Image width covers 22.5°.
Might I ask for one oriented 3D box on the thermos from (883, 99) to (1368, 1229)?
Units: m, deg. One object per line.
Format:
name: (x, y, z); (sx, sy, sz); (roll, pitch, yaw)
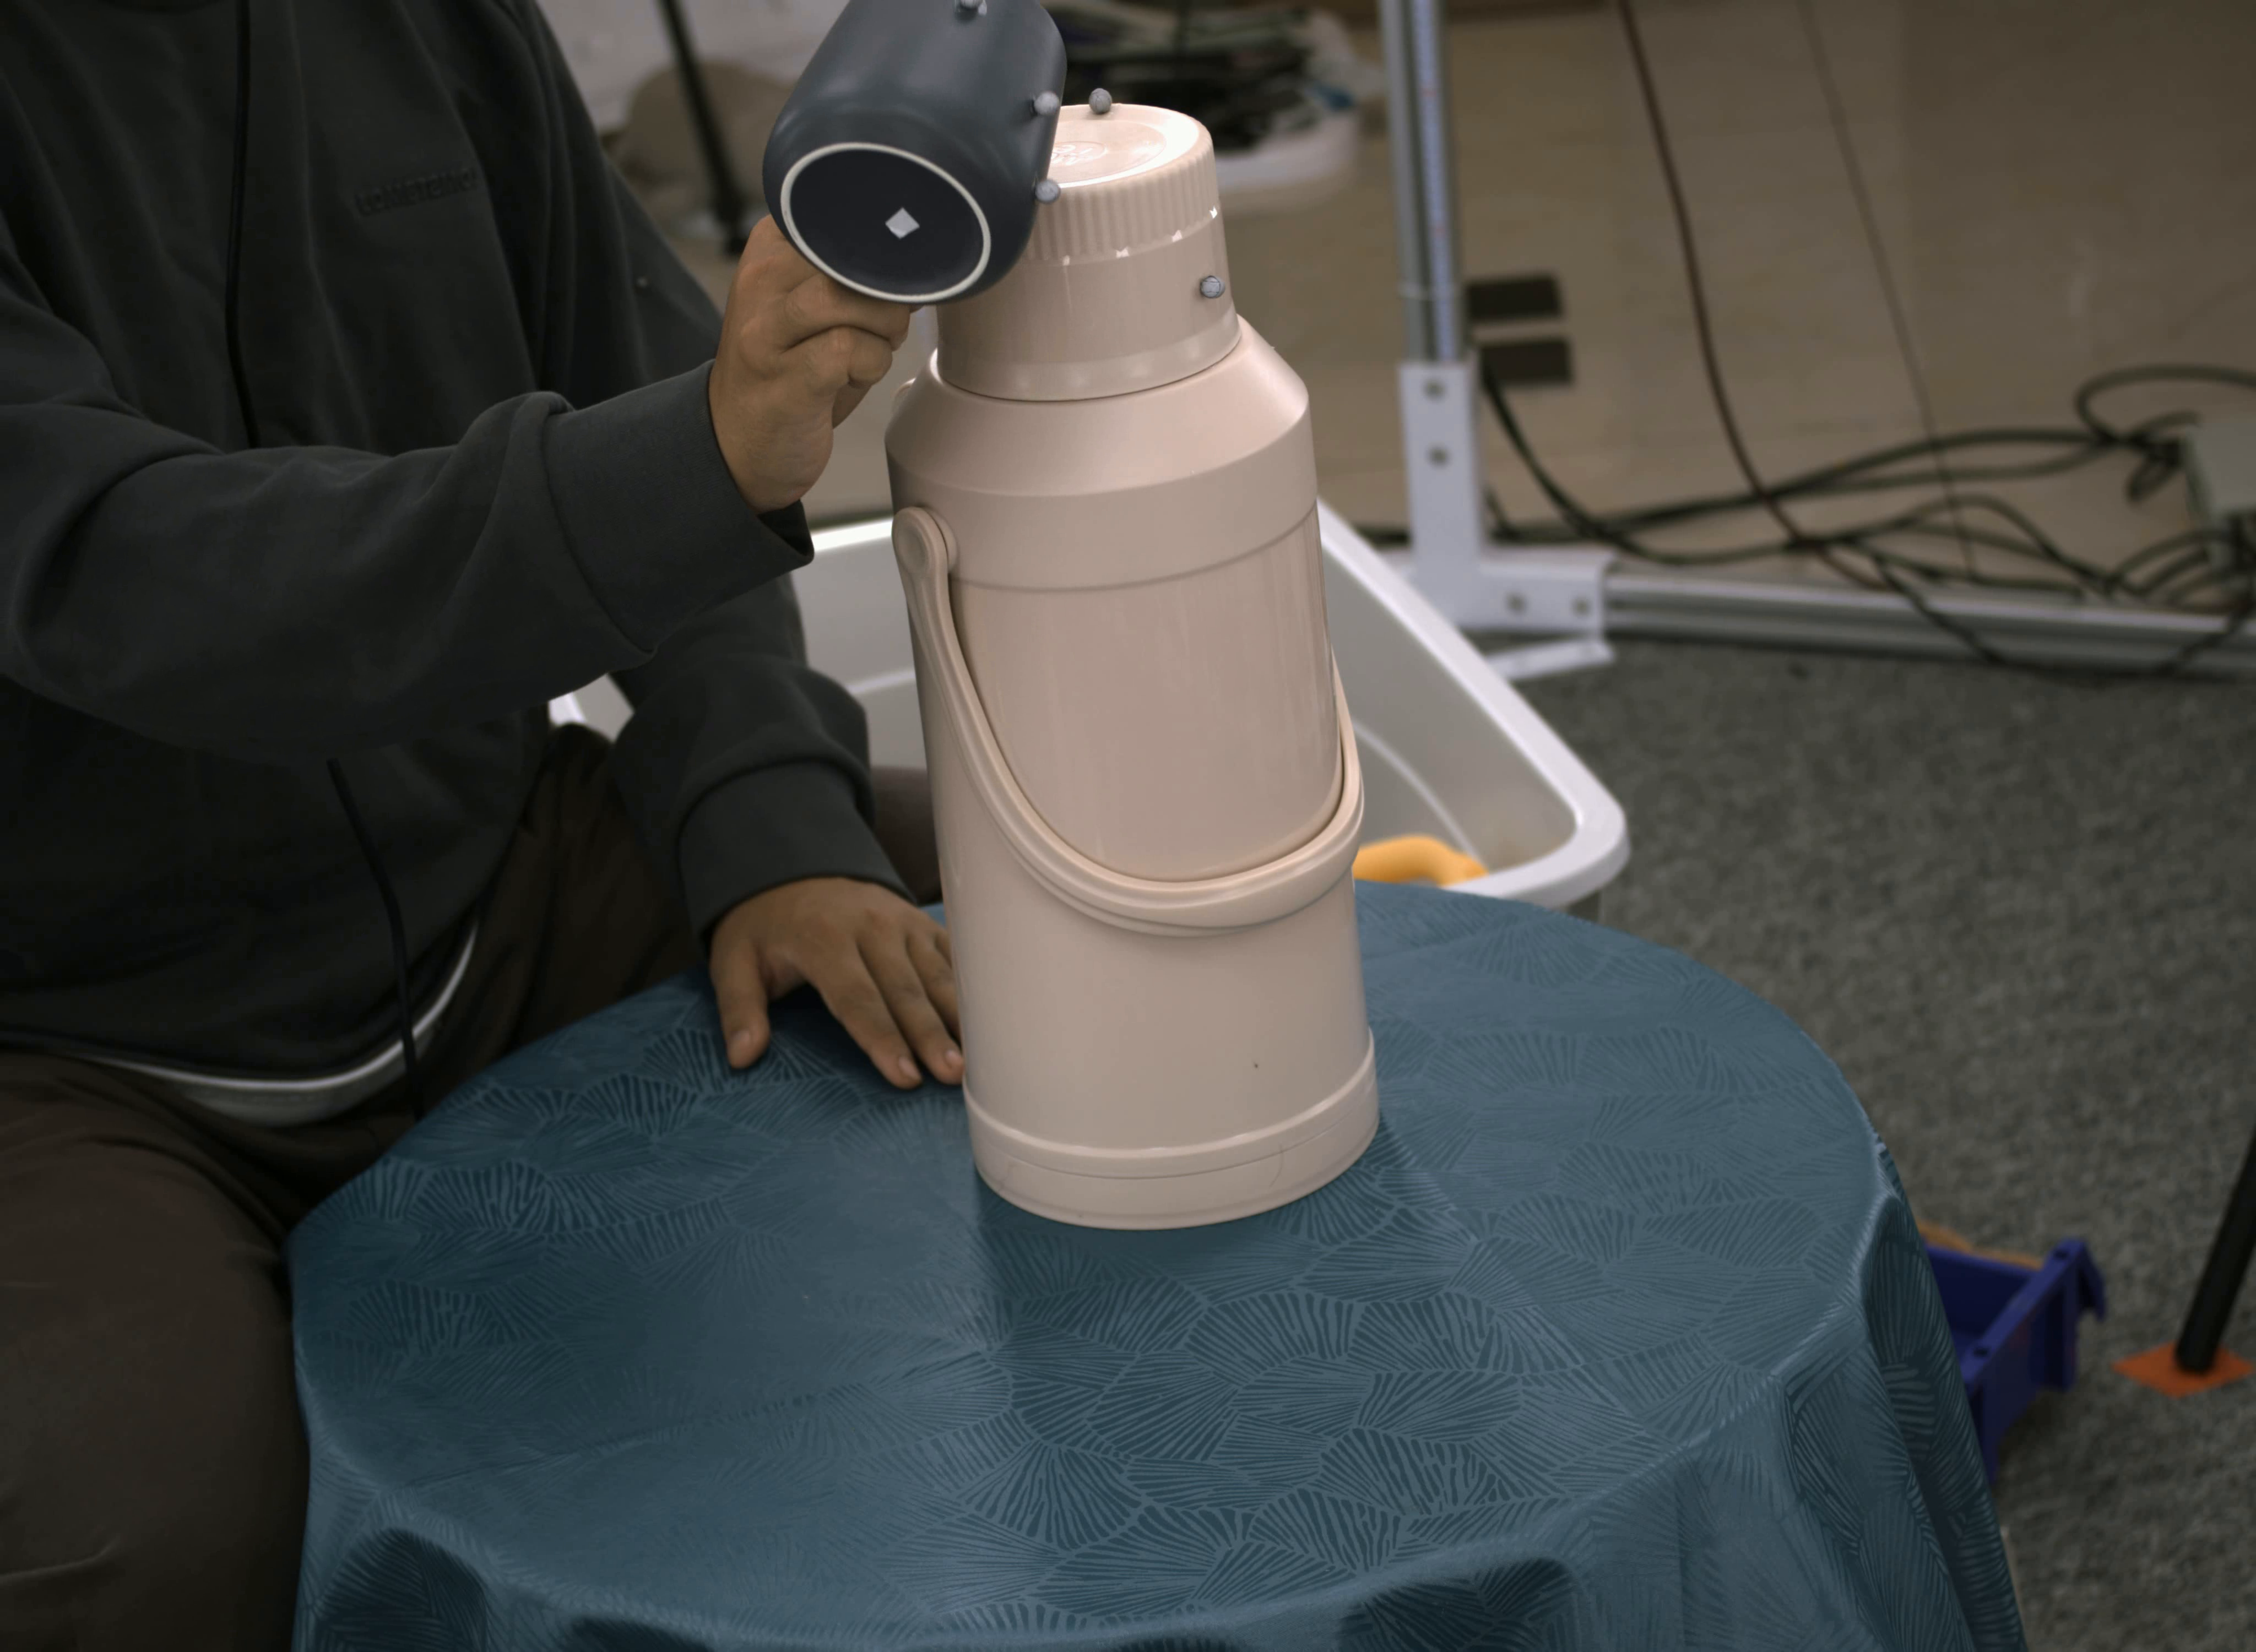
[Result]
thermos: (-0.011, -0.065, 2.113); (0.174, 0.413, 0.205); (-24, 31, -32)

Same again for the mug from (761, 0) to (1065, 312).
mug: (-0.074, -0.226, 1.916); (0.093, 0.125, 0.088); (21, 54, -4)
